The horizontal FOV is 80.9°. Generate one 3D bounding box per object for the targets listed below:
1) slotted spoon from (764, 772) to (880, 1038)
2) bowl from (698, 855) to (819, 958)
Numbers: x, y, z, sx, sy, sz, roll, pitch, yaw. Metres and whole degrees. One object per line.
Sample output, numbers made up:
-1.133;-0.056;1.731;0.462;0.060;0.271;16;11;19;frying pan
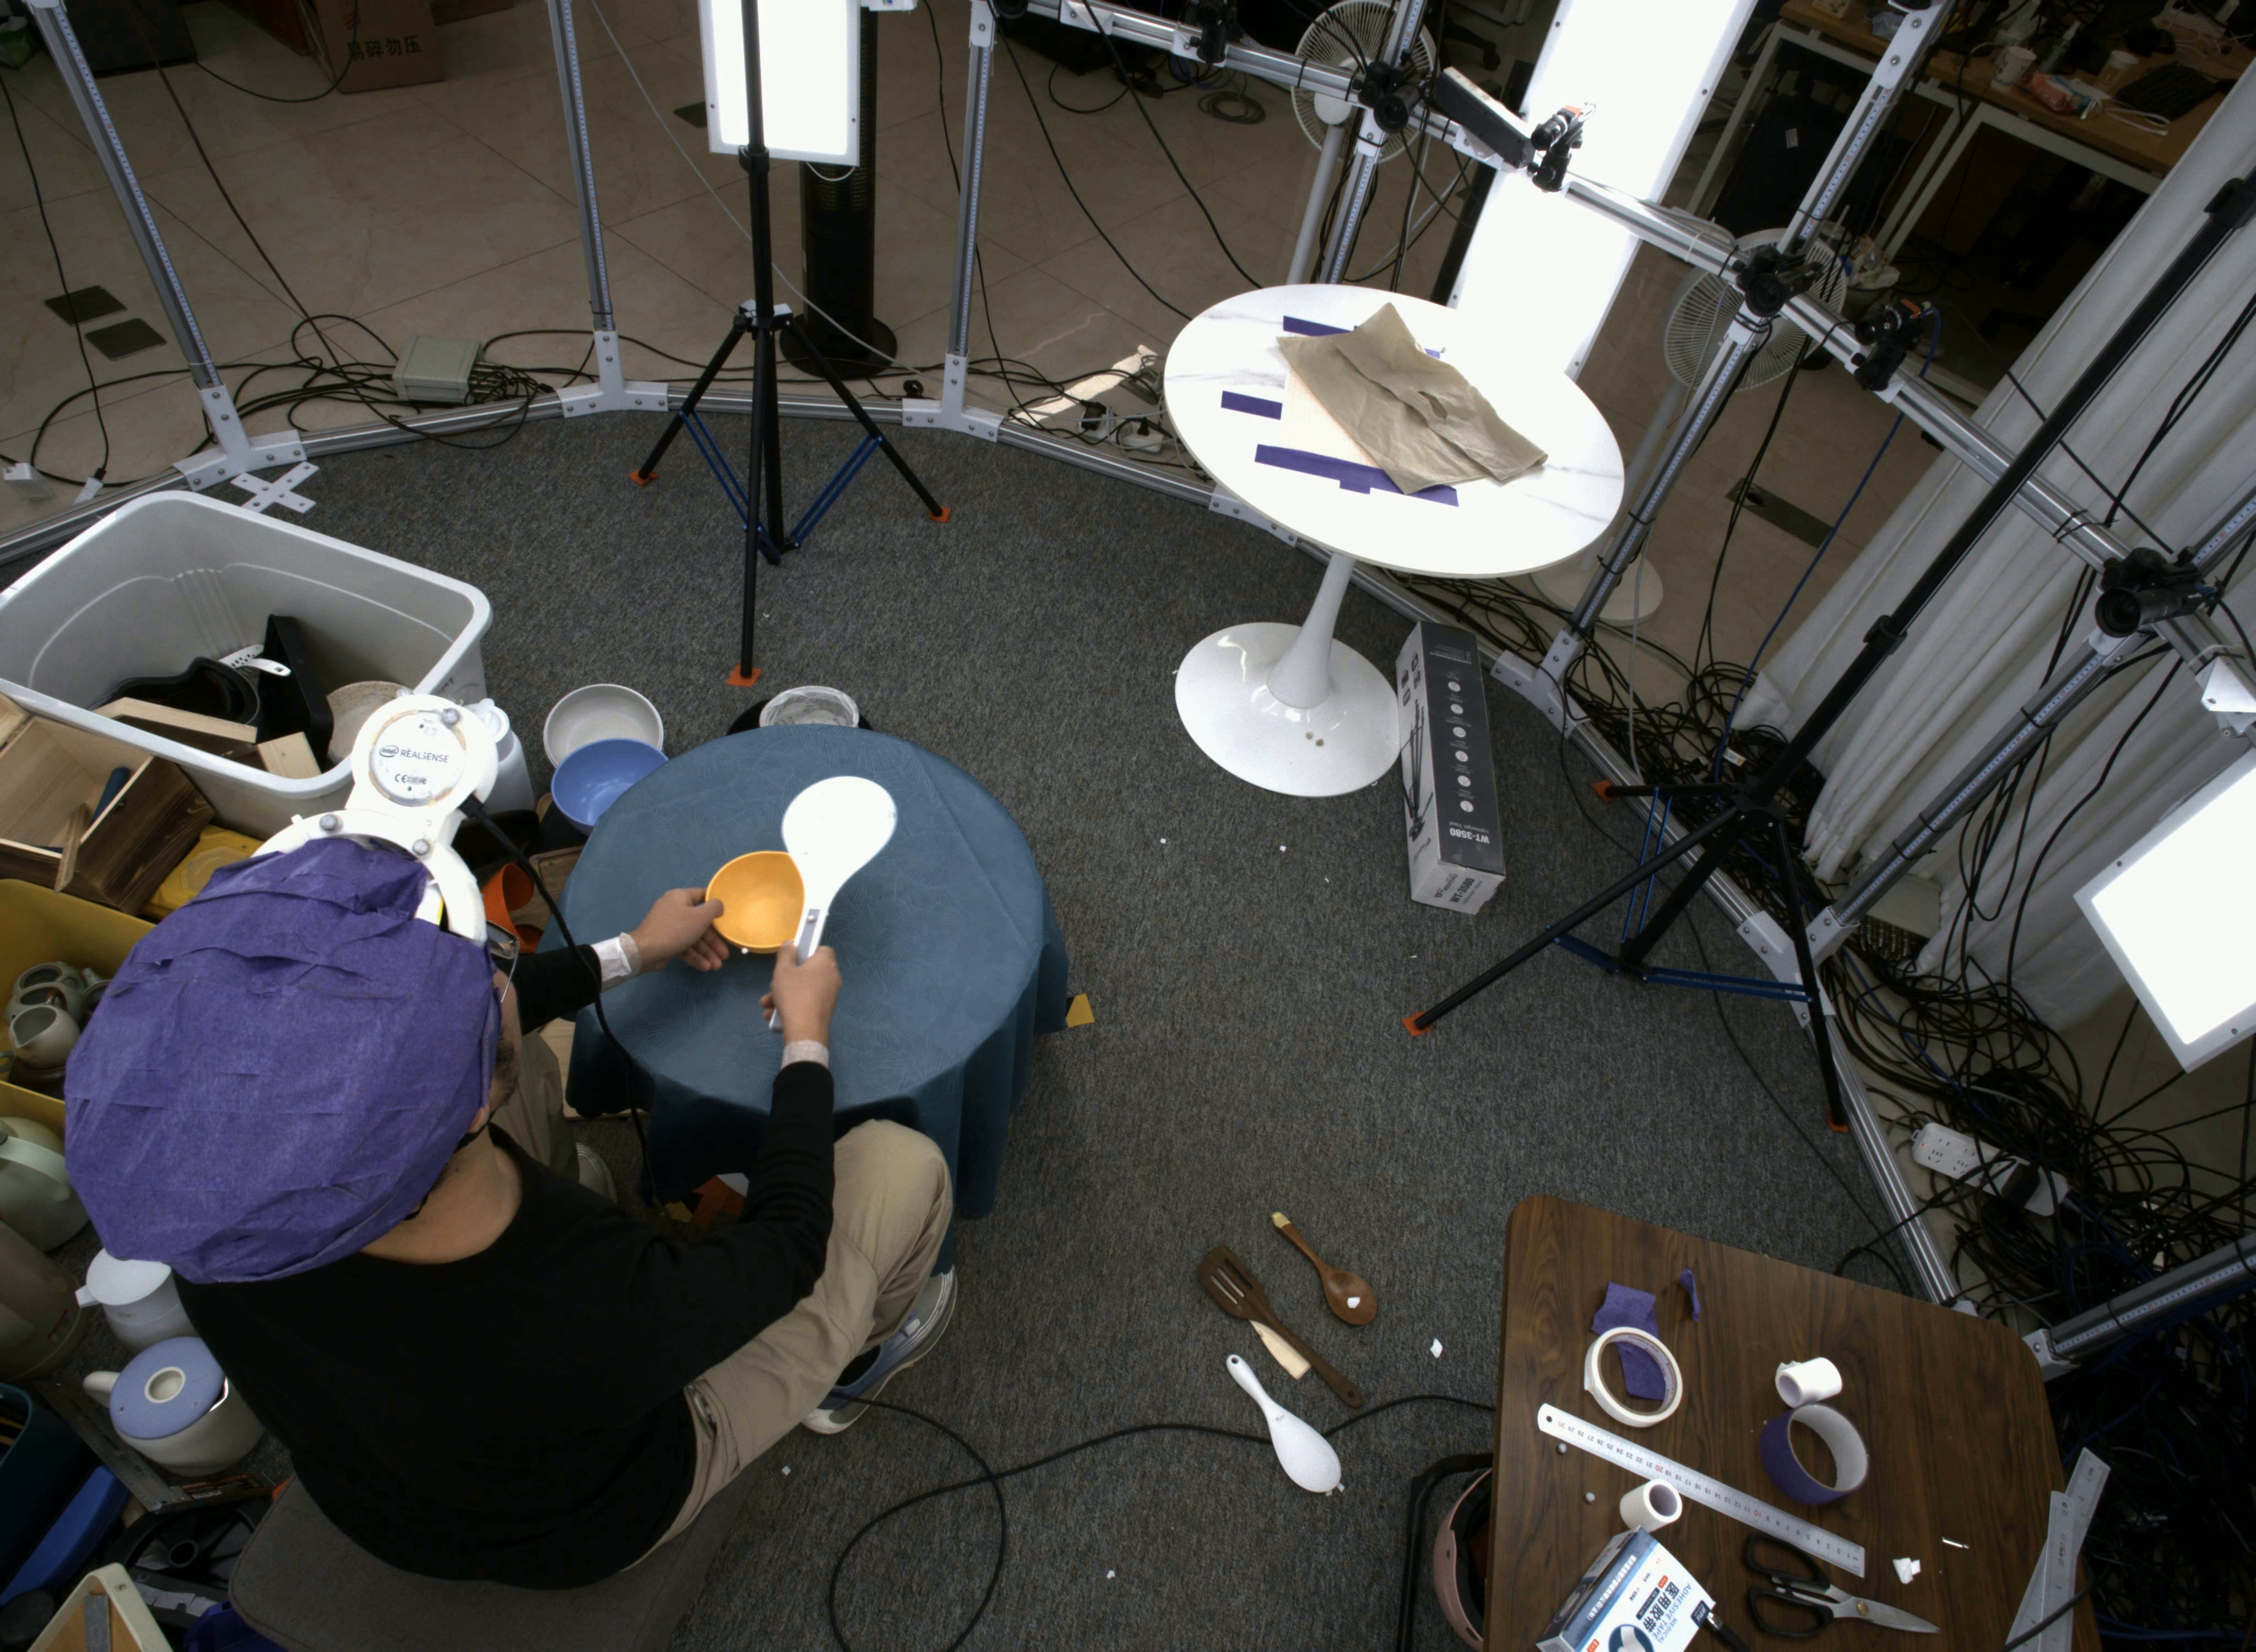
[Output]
-0.372;0.083;1.510;0.134;0.047;0.344;2;52;4;slotted spoon
-0.453;0.108;1.596;0.145;0.061;0.142;7;51;-7;bowl
